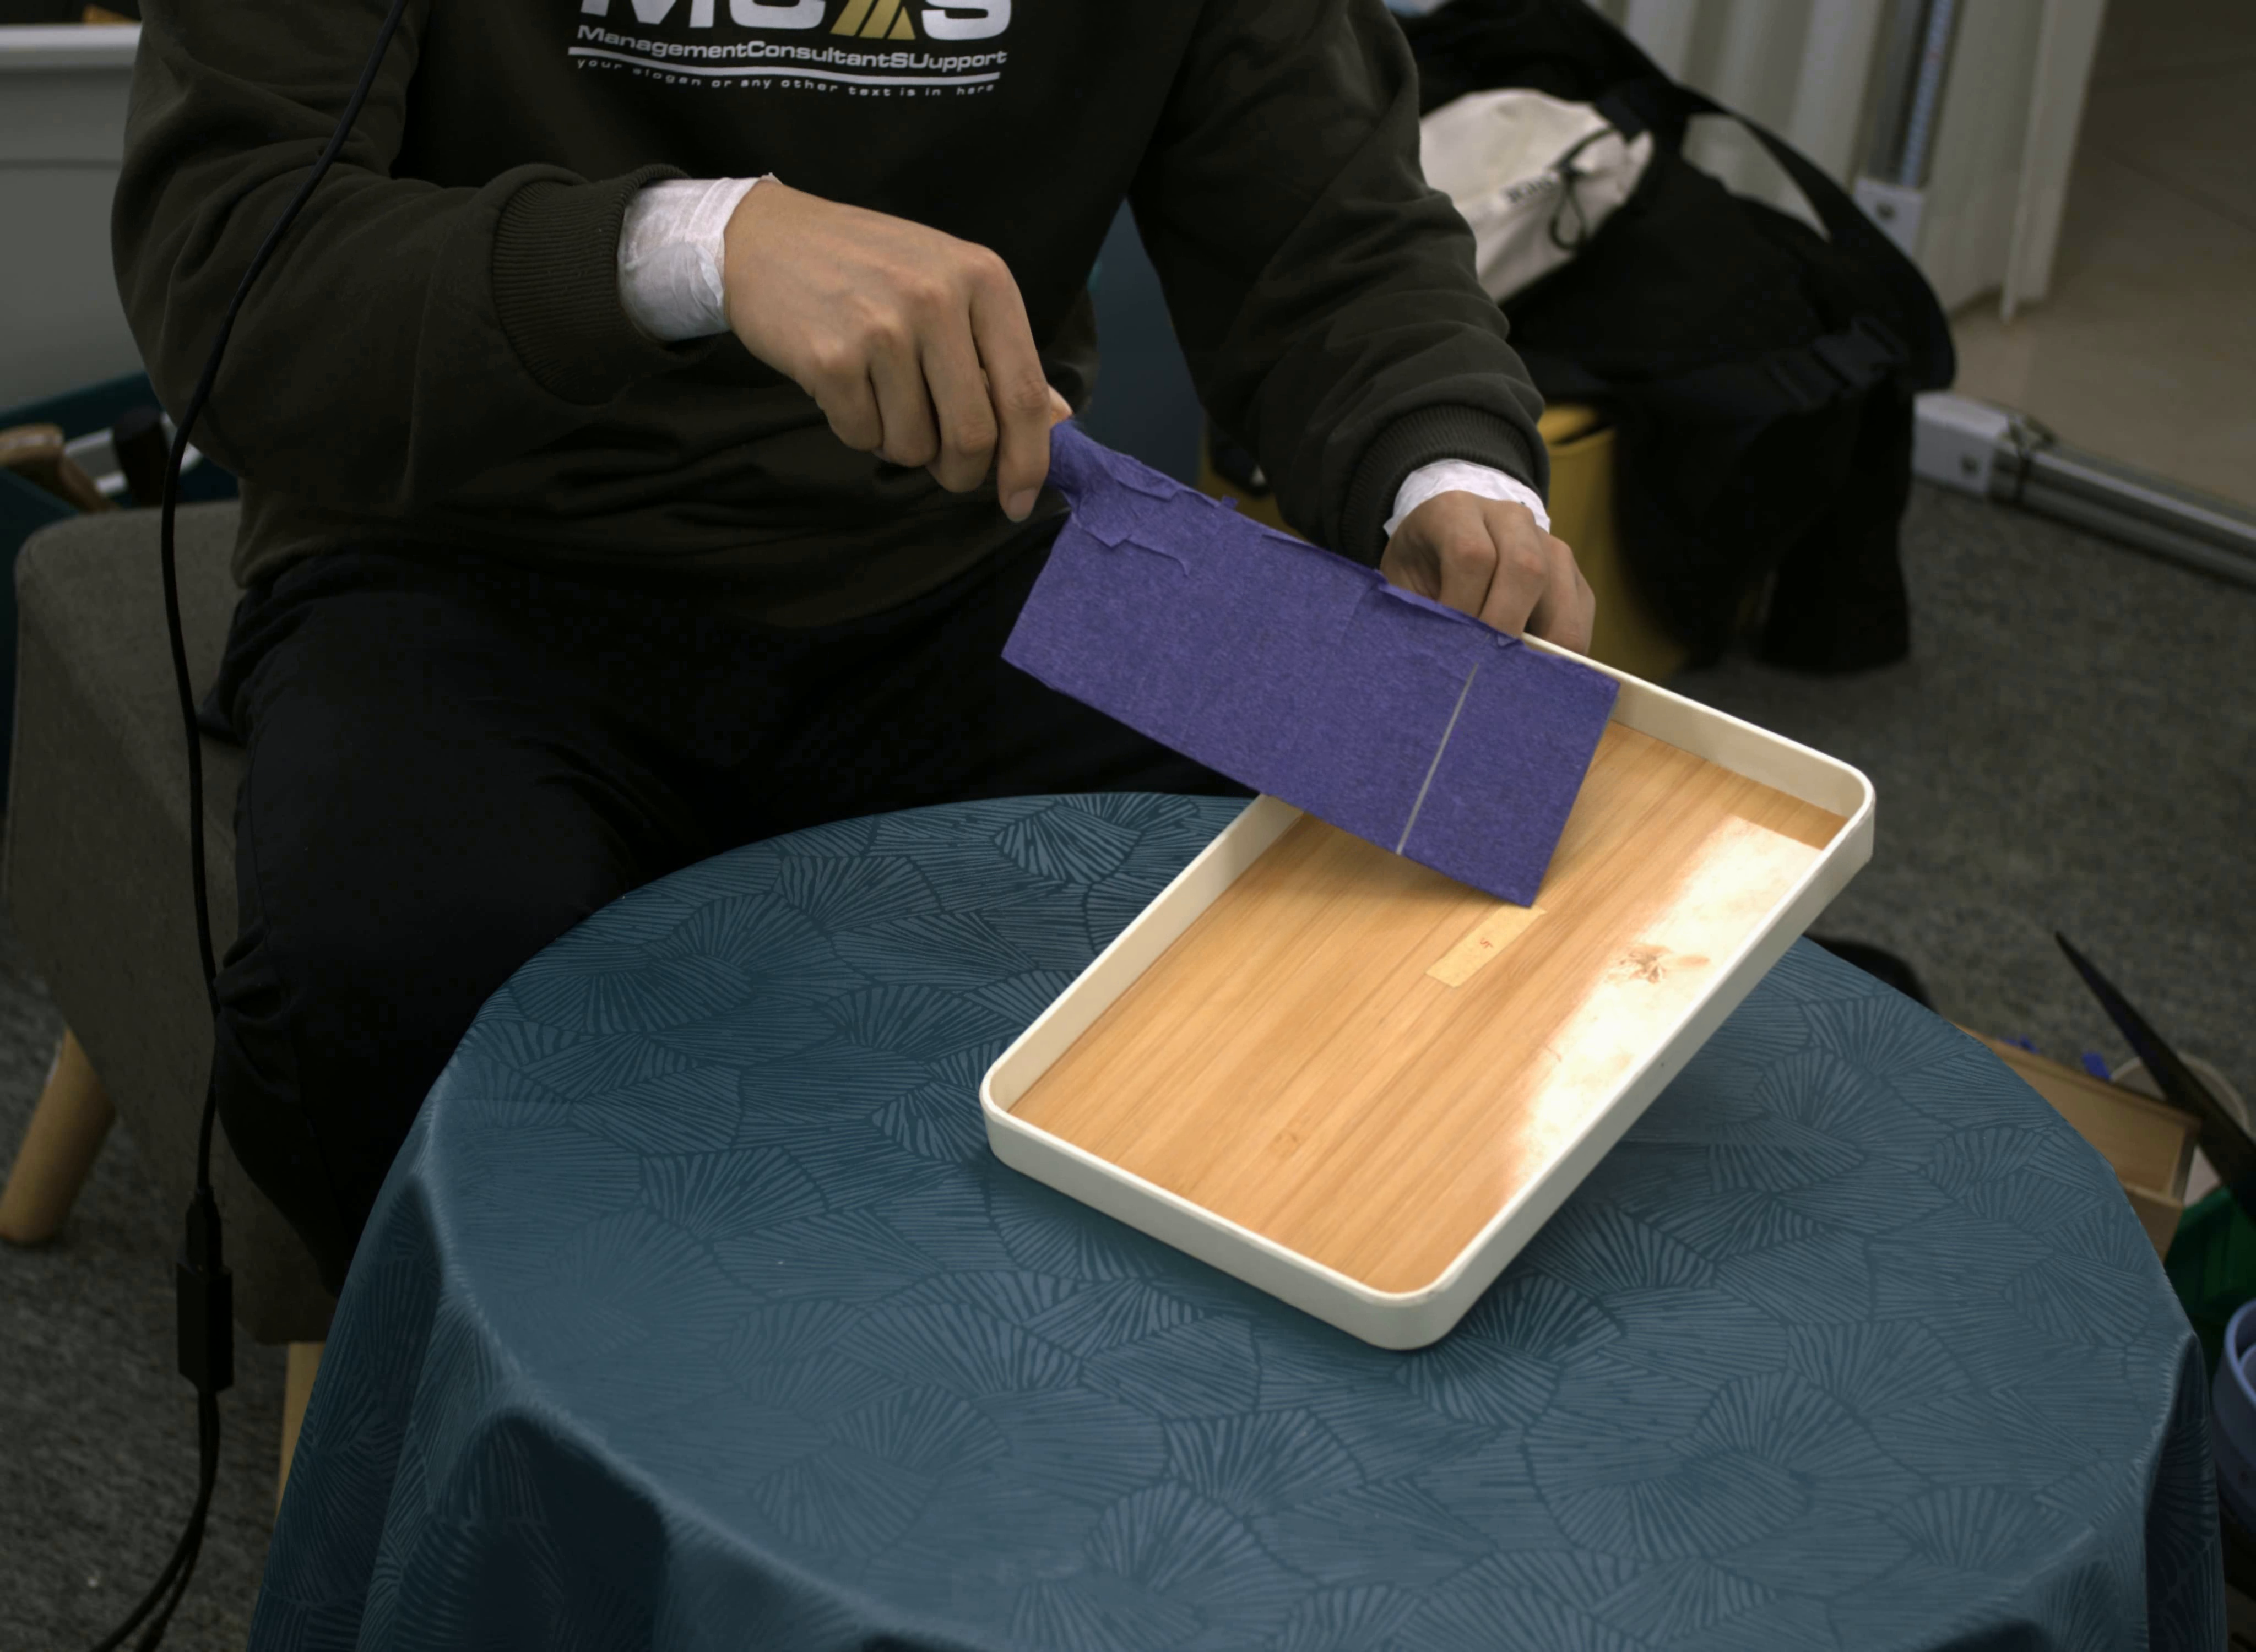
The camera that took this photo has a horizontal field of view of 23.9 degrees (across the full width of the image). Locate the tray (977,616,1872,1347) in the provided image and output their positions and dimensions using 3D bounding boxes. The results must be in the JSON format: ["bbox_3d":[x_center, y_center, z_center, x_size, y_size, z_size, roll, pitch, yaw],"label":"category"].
[{"bbox_3d":[0.106,0.047,1.847,0.193,0.027,0.300,23,51,31],"label":"tray"}]

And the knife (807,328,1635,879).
[{"bbox_3d":[0.020,-0.077,1.885,0.315,0.032,0.104,24,73,4],"label":"knife"}]
